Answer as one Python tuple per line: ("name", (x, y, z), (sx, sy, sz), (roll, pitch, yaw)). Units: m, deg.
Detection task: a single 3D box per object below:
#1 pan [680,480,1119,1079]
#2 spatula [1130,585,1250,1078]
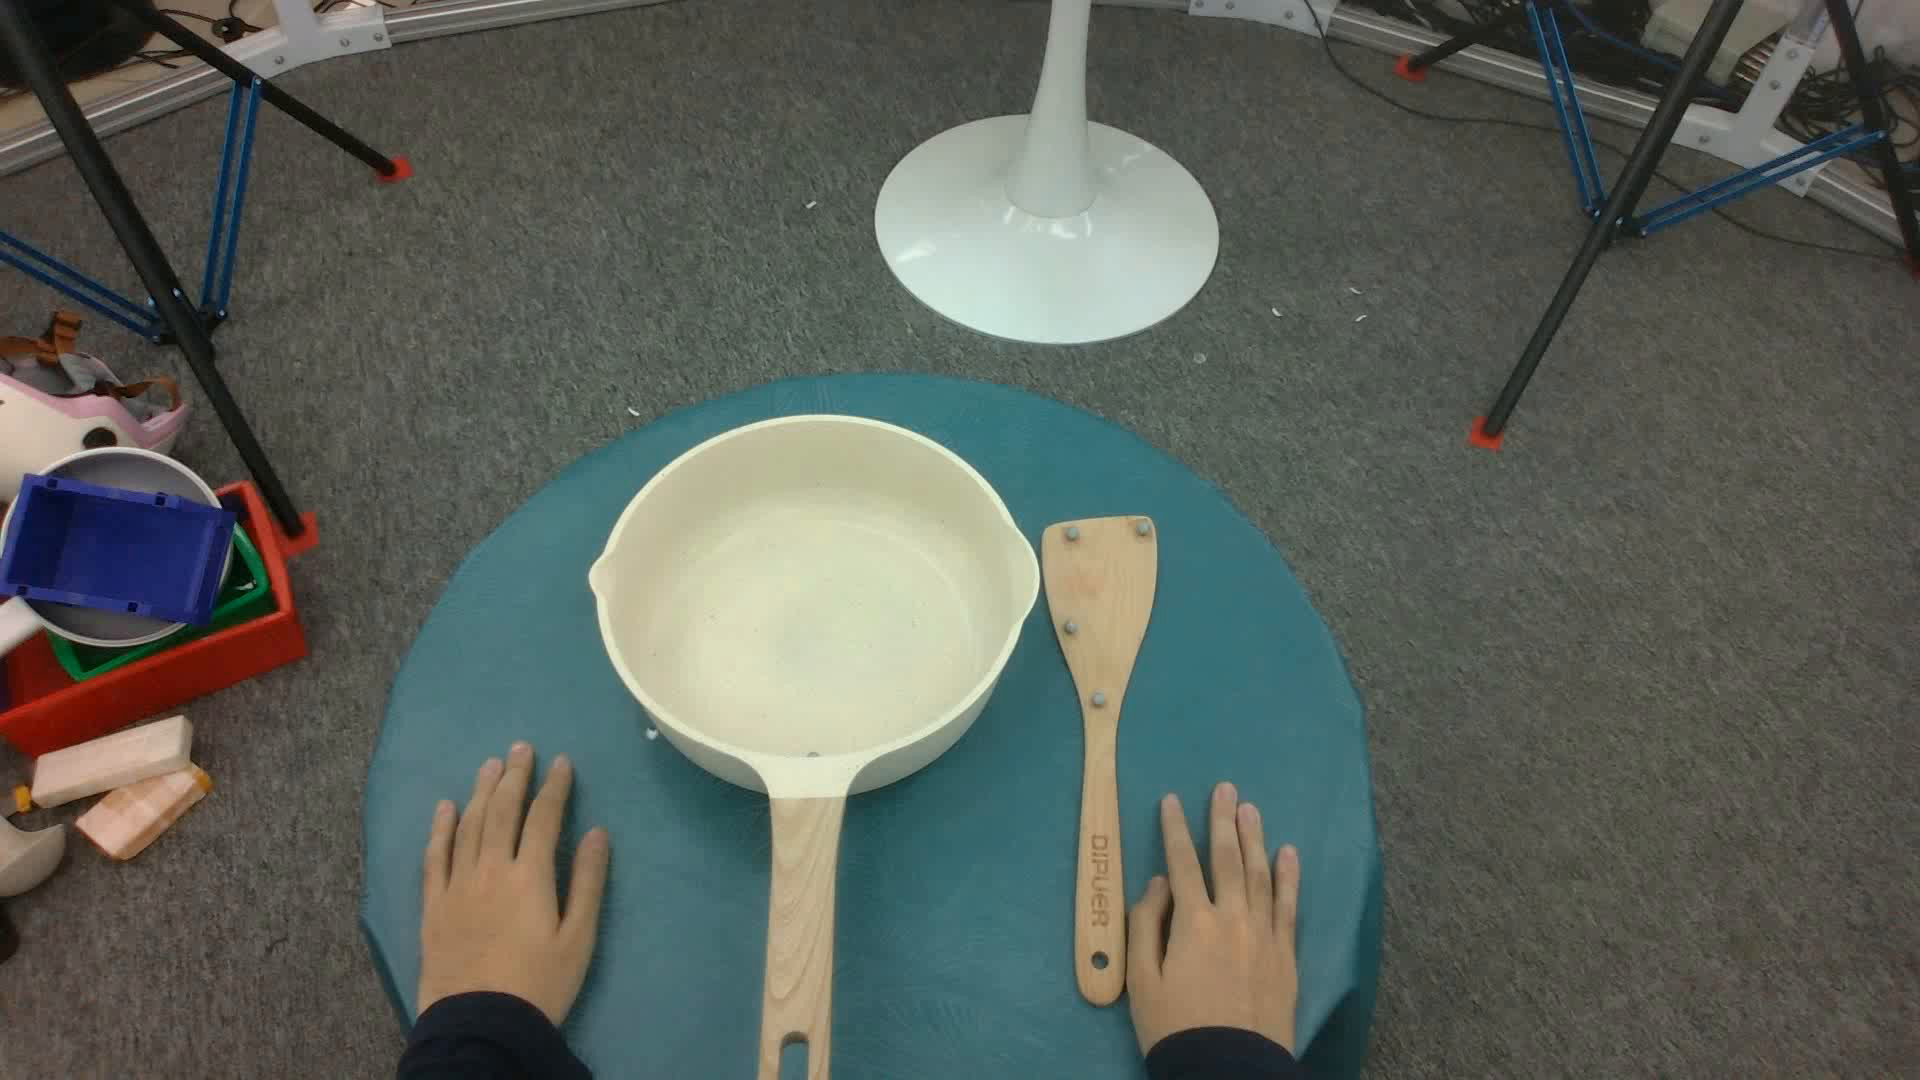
("pan", (-0.037, 0.151, 0.791), (0.263, 0.101, 0.437), (1, 51, 0))
("spatula", (0.138, 0.159, 0.839), (0.080, 0.016, 0.329), (6, 51, 4))
